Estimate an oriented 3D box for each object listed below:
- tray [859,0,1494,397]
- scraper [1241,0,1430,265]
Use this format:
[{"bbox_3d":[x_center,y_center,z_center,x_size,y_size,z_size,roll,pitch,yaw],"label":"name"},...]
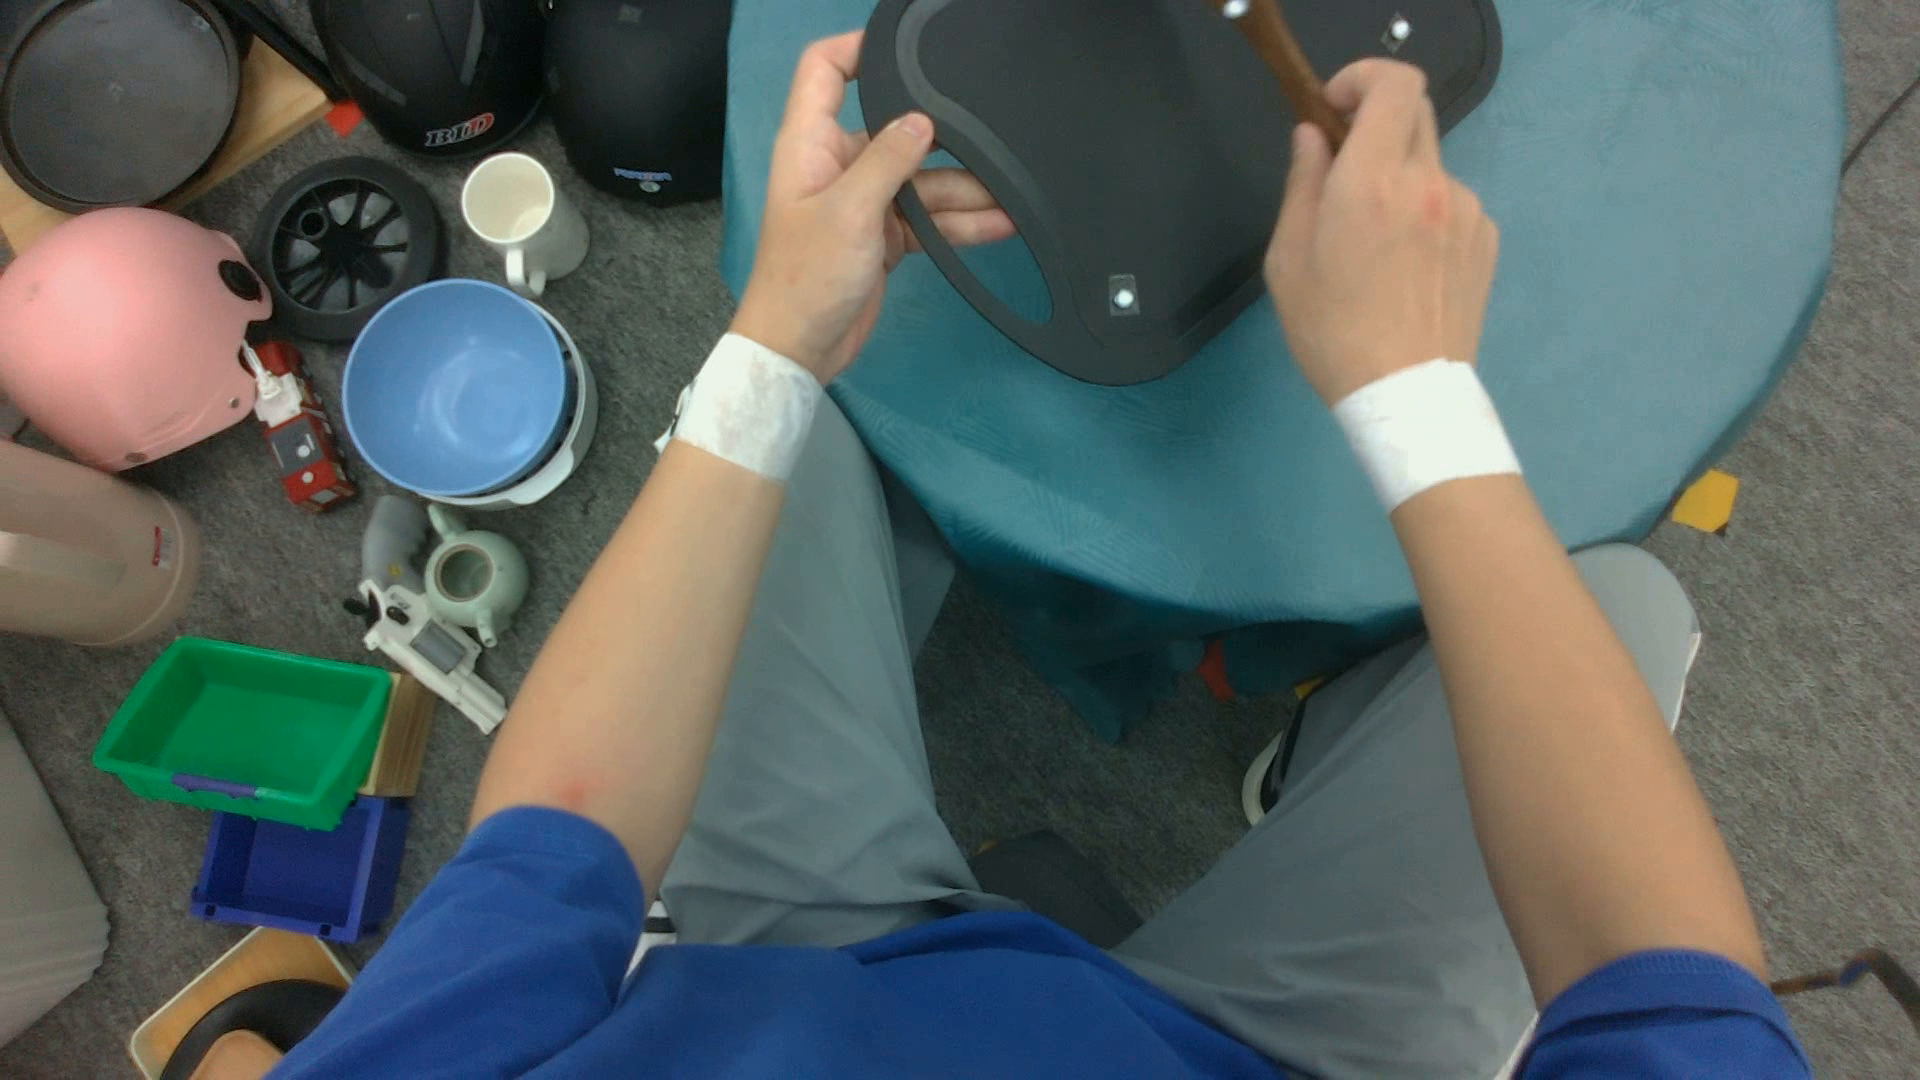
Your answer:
[{"bbox_3d":[0.109,-0.219,0.654,0.326,0.010,0.211,-41,99,-15],"label":"tray"},{"bbox_3d":[0.155,-0.218,0.612,0.011,0.075,0.211,-27,90,-15],"label":"scraper"}]
